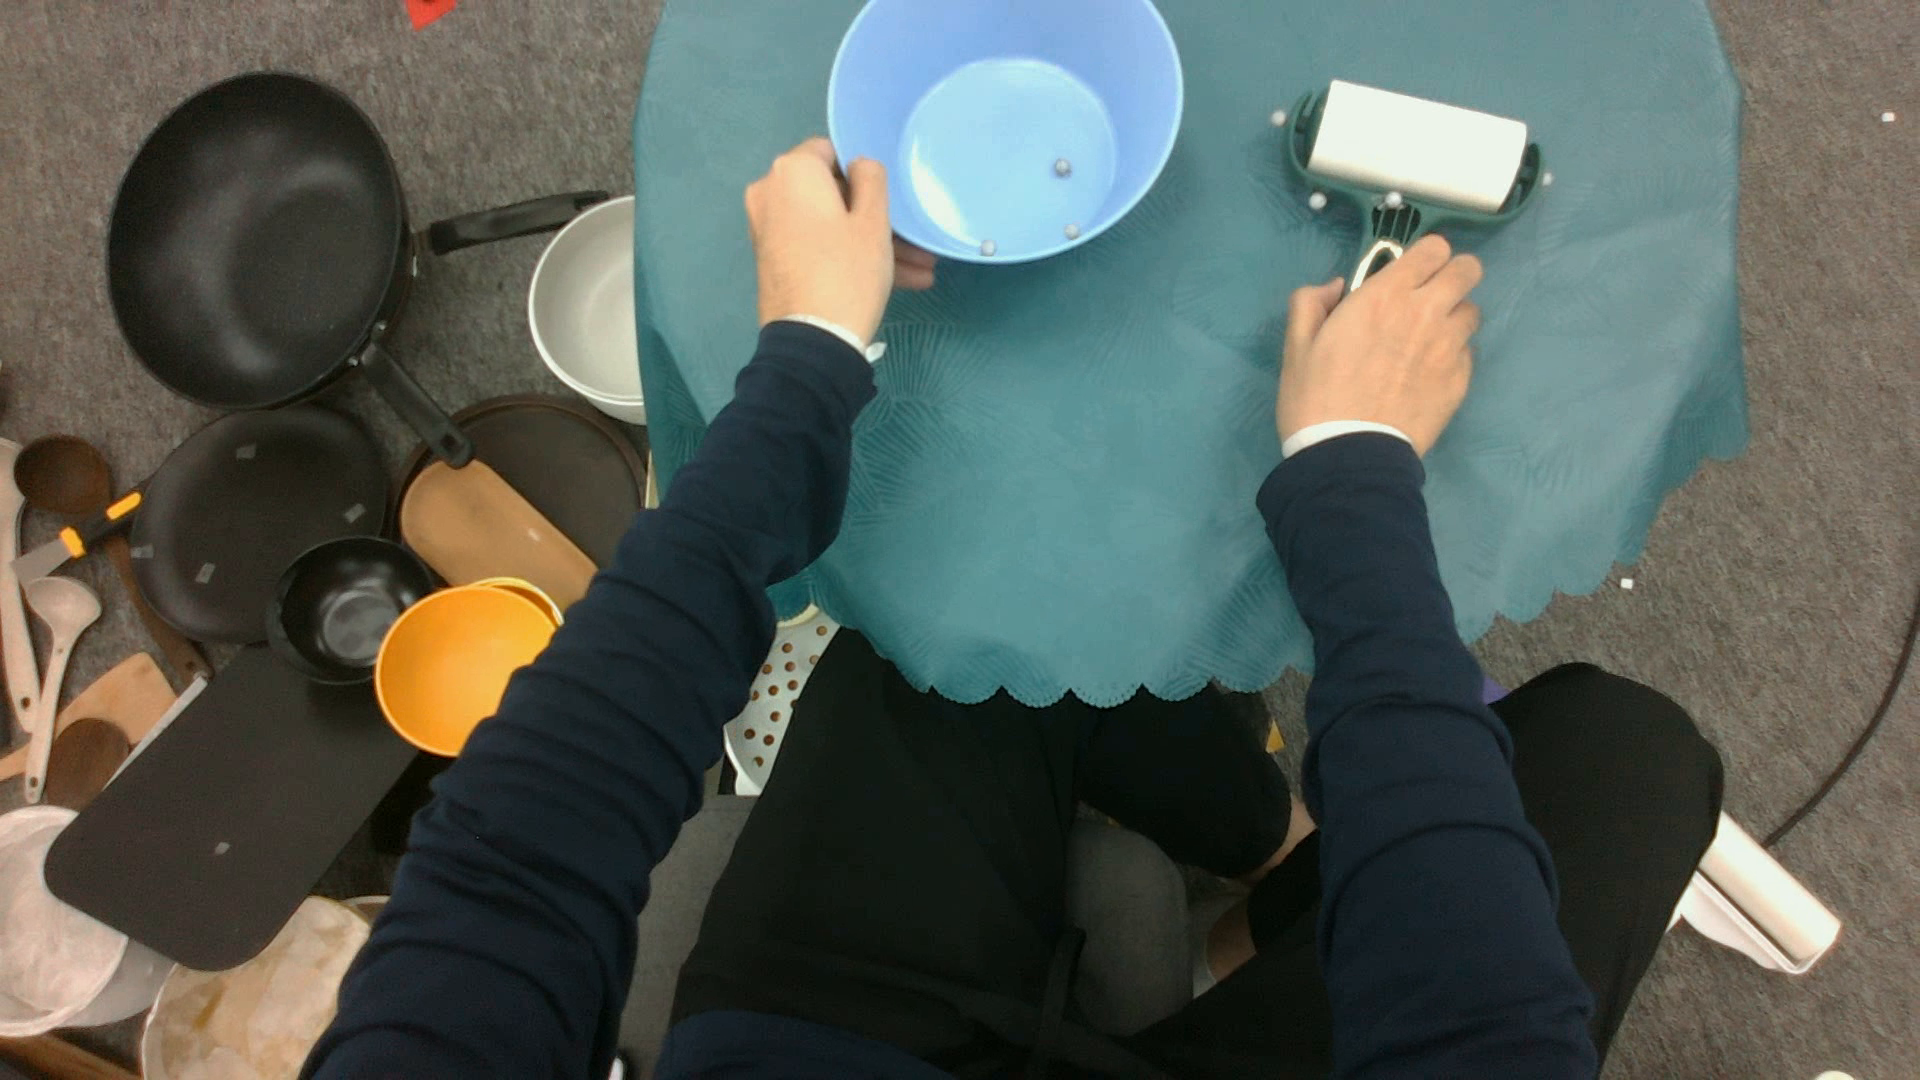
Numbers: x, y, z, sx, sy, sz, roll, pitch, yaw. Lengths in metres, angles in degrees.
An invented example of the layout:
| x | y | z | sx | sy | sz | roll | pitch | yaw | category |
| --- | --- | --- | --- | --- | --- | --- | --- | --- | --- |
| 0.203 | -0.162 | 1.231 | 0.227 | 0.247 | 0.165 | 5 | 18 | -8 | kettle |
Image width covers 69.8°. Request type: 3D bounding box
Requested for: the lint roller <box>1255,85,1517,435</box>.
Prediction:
| x | y | z | sx | sy | sz | roll | pitch | yaw | category |
| --- | --- | --- | --- | --- | --- | --- | --- | --- | --- |
| 0.209 | -0.144 | 0.704 | 0.134 | 0.048 | 0.180 | 10 | 73 | 4 | lint roller |

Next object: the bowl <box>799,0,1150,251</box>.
| x | y | z | sx | sy | sz | roll | pitch | yaw | category |
| --- | --- | --- | --- | --- | --- | --- | --- | --- | --- |
| 0.010 | -0.218 | 0.712 | 0.176 | 0.070 | 0.176 | -1 | 76 | 6 | bowl |
